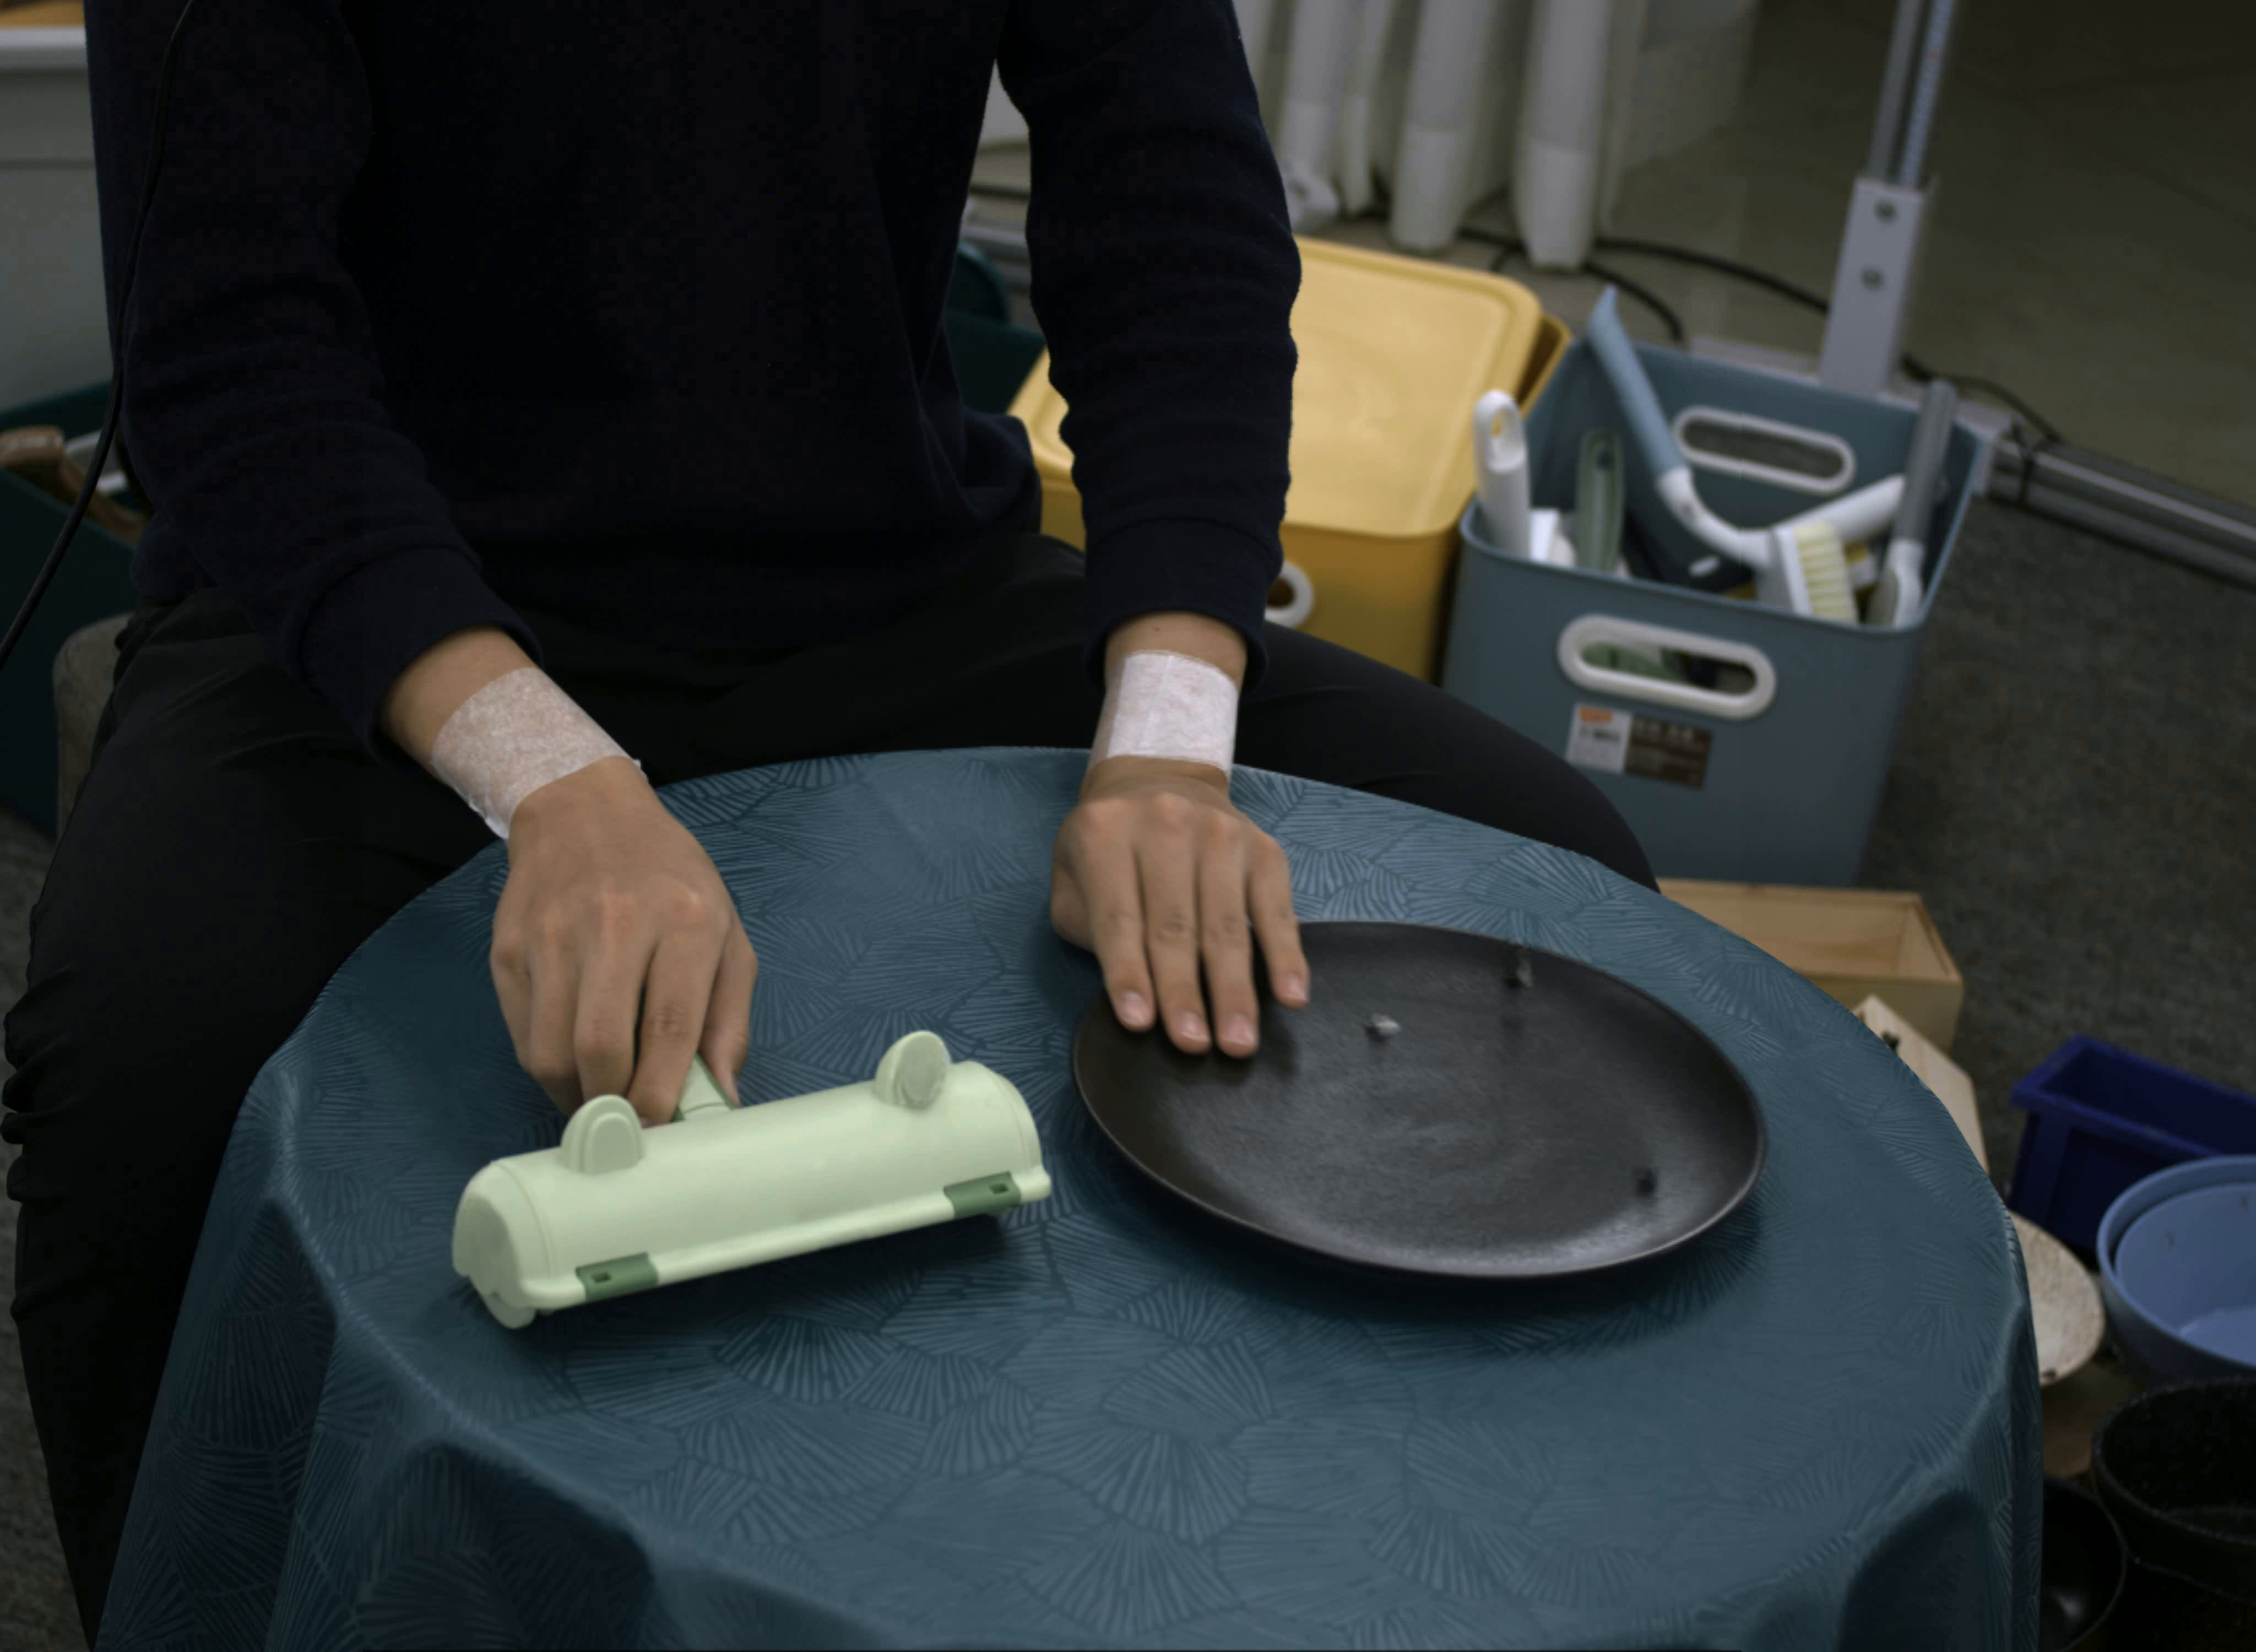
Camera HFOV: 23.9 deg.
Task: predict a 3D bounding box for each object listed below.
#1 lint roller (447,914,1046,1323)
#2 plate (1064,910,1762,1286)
[{"bbox_3d":[-0.148,0.074,1.752,0.197,0.082,0.185,-11,49,-32],"label":"lint roller"},{"bbox_3d":[0.098,0.099,1.844,0.243,0.023,0.246,6,28,-3],"label":"plate"}]
